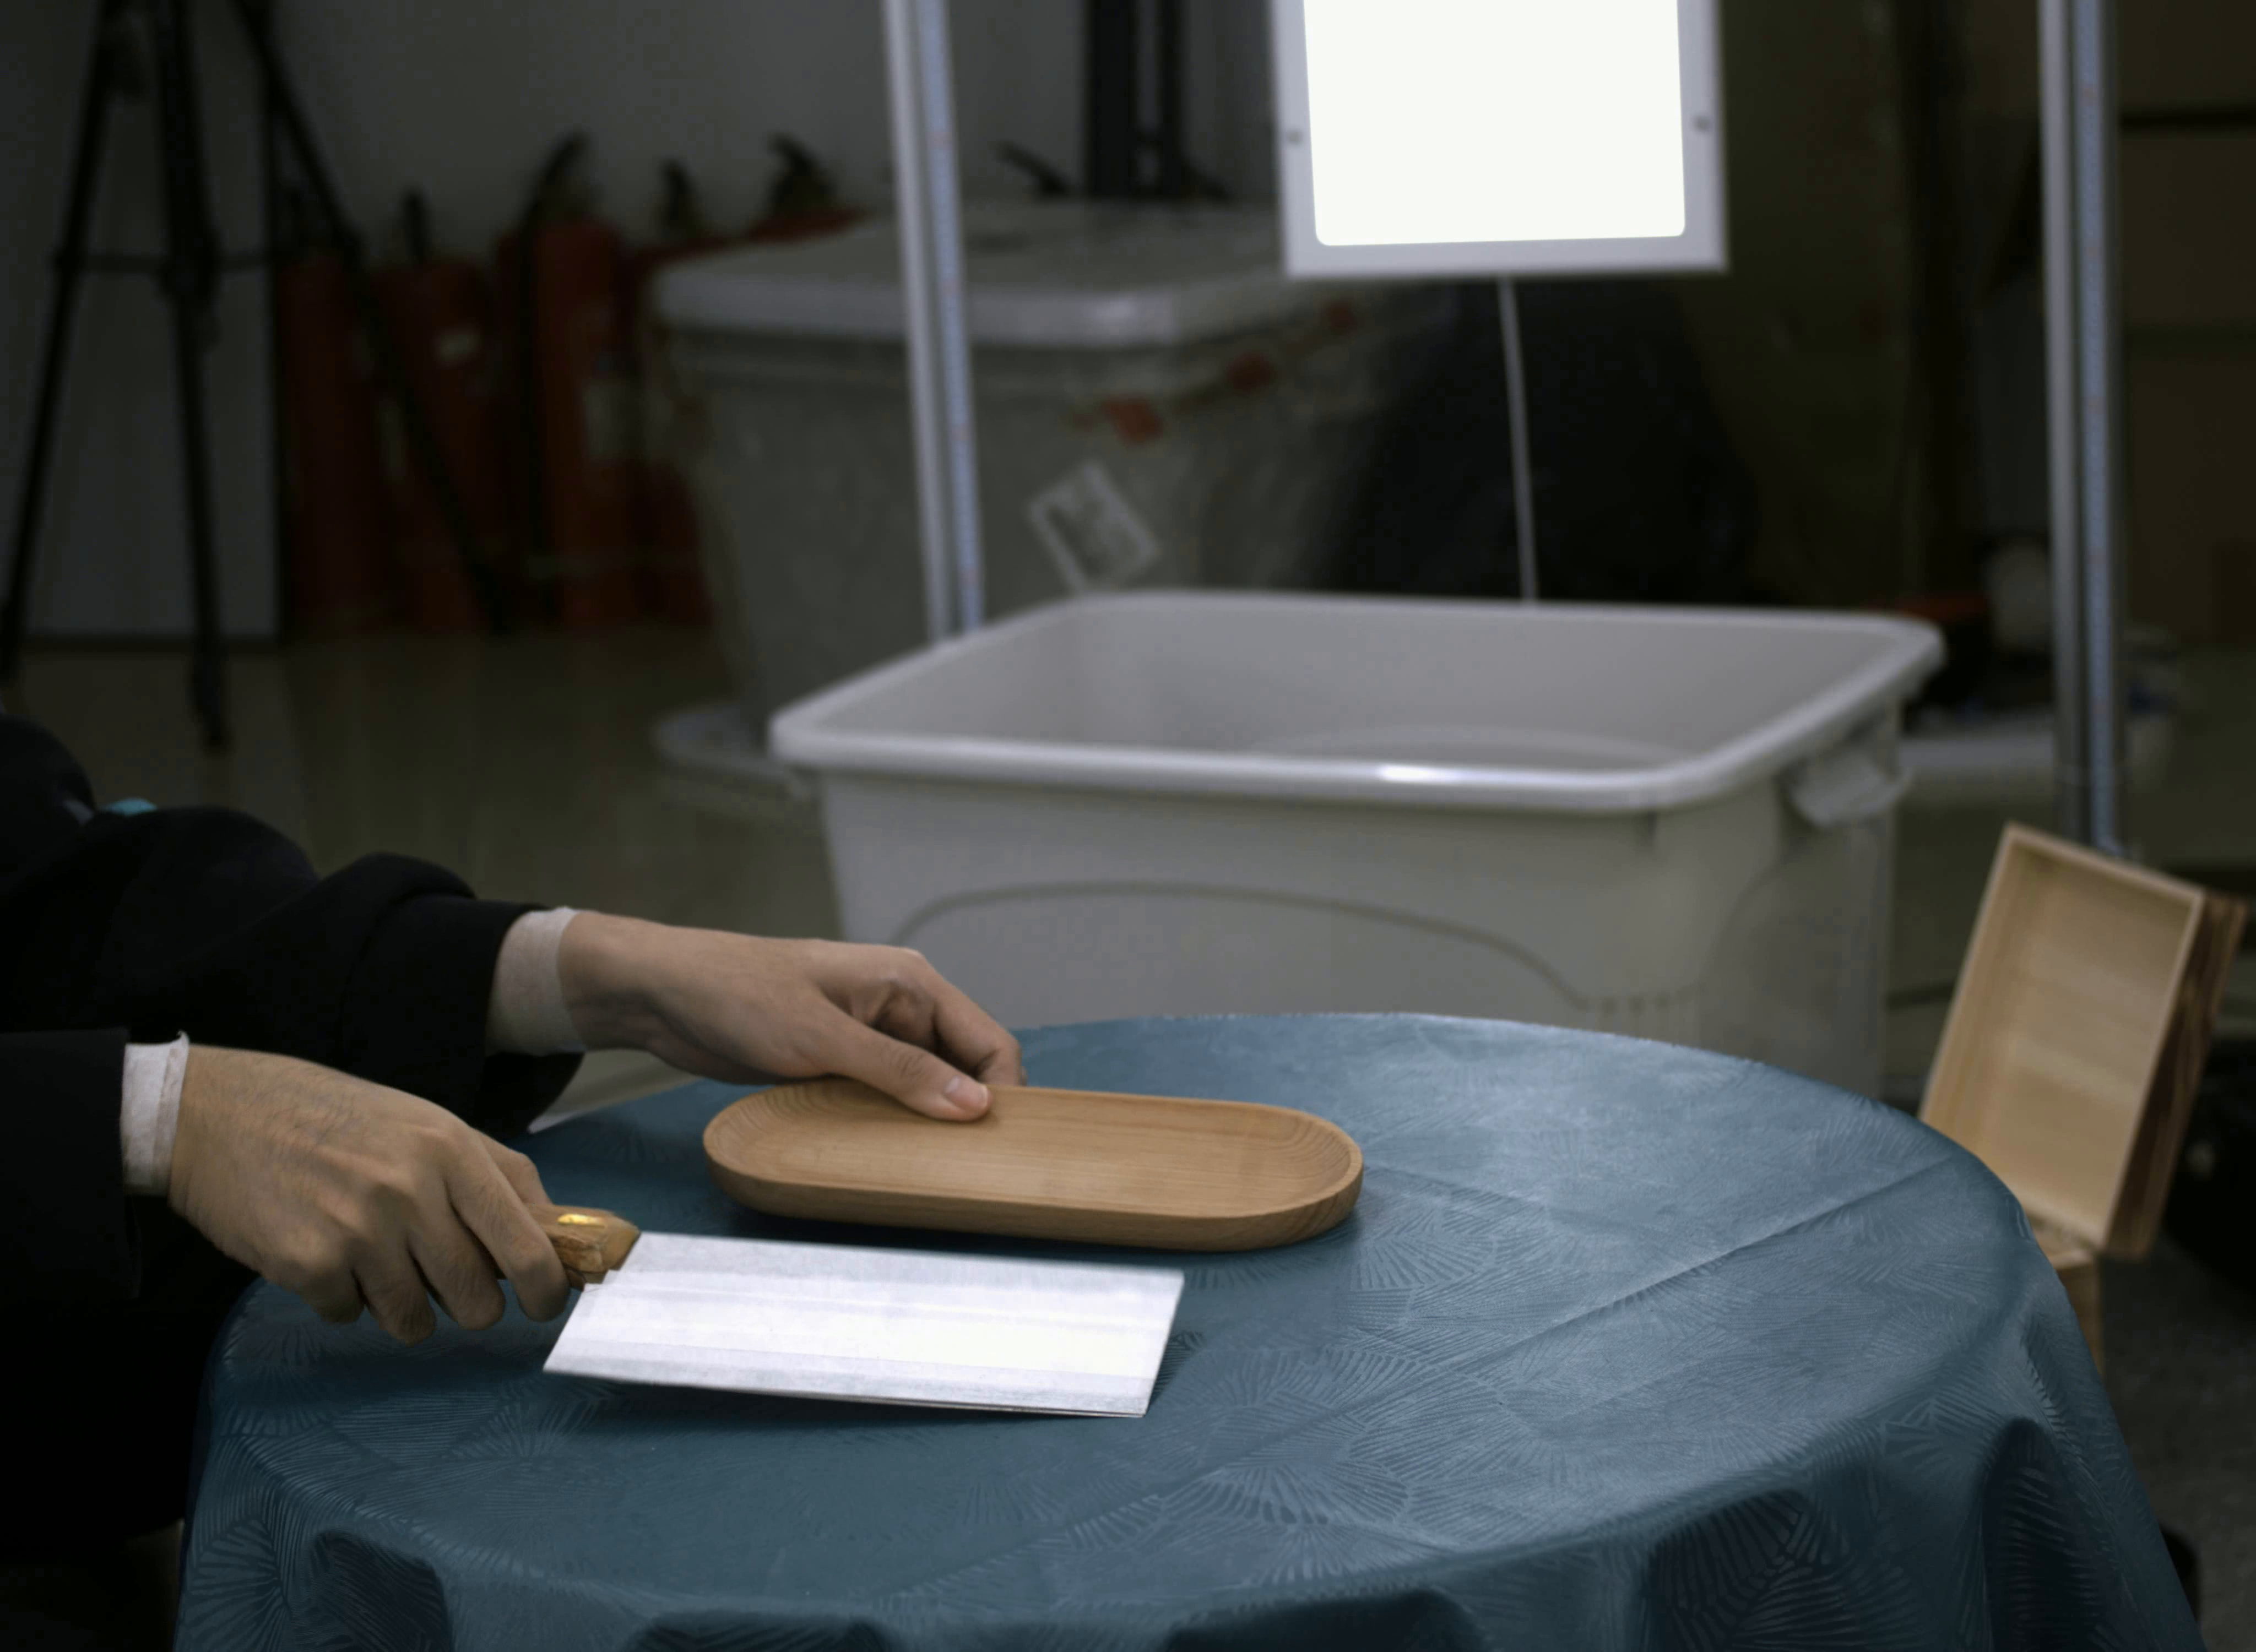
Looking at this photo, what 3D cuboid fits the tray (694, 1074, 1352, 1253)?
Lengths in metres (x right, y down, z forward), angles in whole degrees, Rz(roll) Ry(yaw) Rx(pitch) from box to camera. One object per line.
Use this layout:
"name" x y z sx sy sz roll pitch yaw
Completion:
"tray" -0.036 0.115 1.884 0.234 0.020 0.100 3 19 17

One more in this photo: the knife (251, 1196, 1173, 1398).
"knife" -0.137 0.152 1.747 0.307 0.021 0.092 4 23 11
